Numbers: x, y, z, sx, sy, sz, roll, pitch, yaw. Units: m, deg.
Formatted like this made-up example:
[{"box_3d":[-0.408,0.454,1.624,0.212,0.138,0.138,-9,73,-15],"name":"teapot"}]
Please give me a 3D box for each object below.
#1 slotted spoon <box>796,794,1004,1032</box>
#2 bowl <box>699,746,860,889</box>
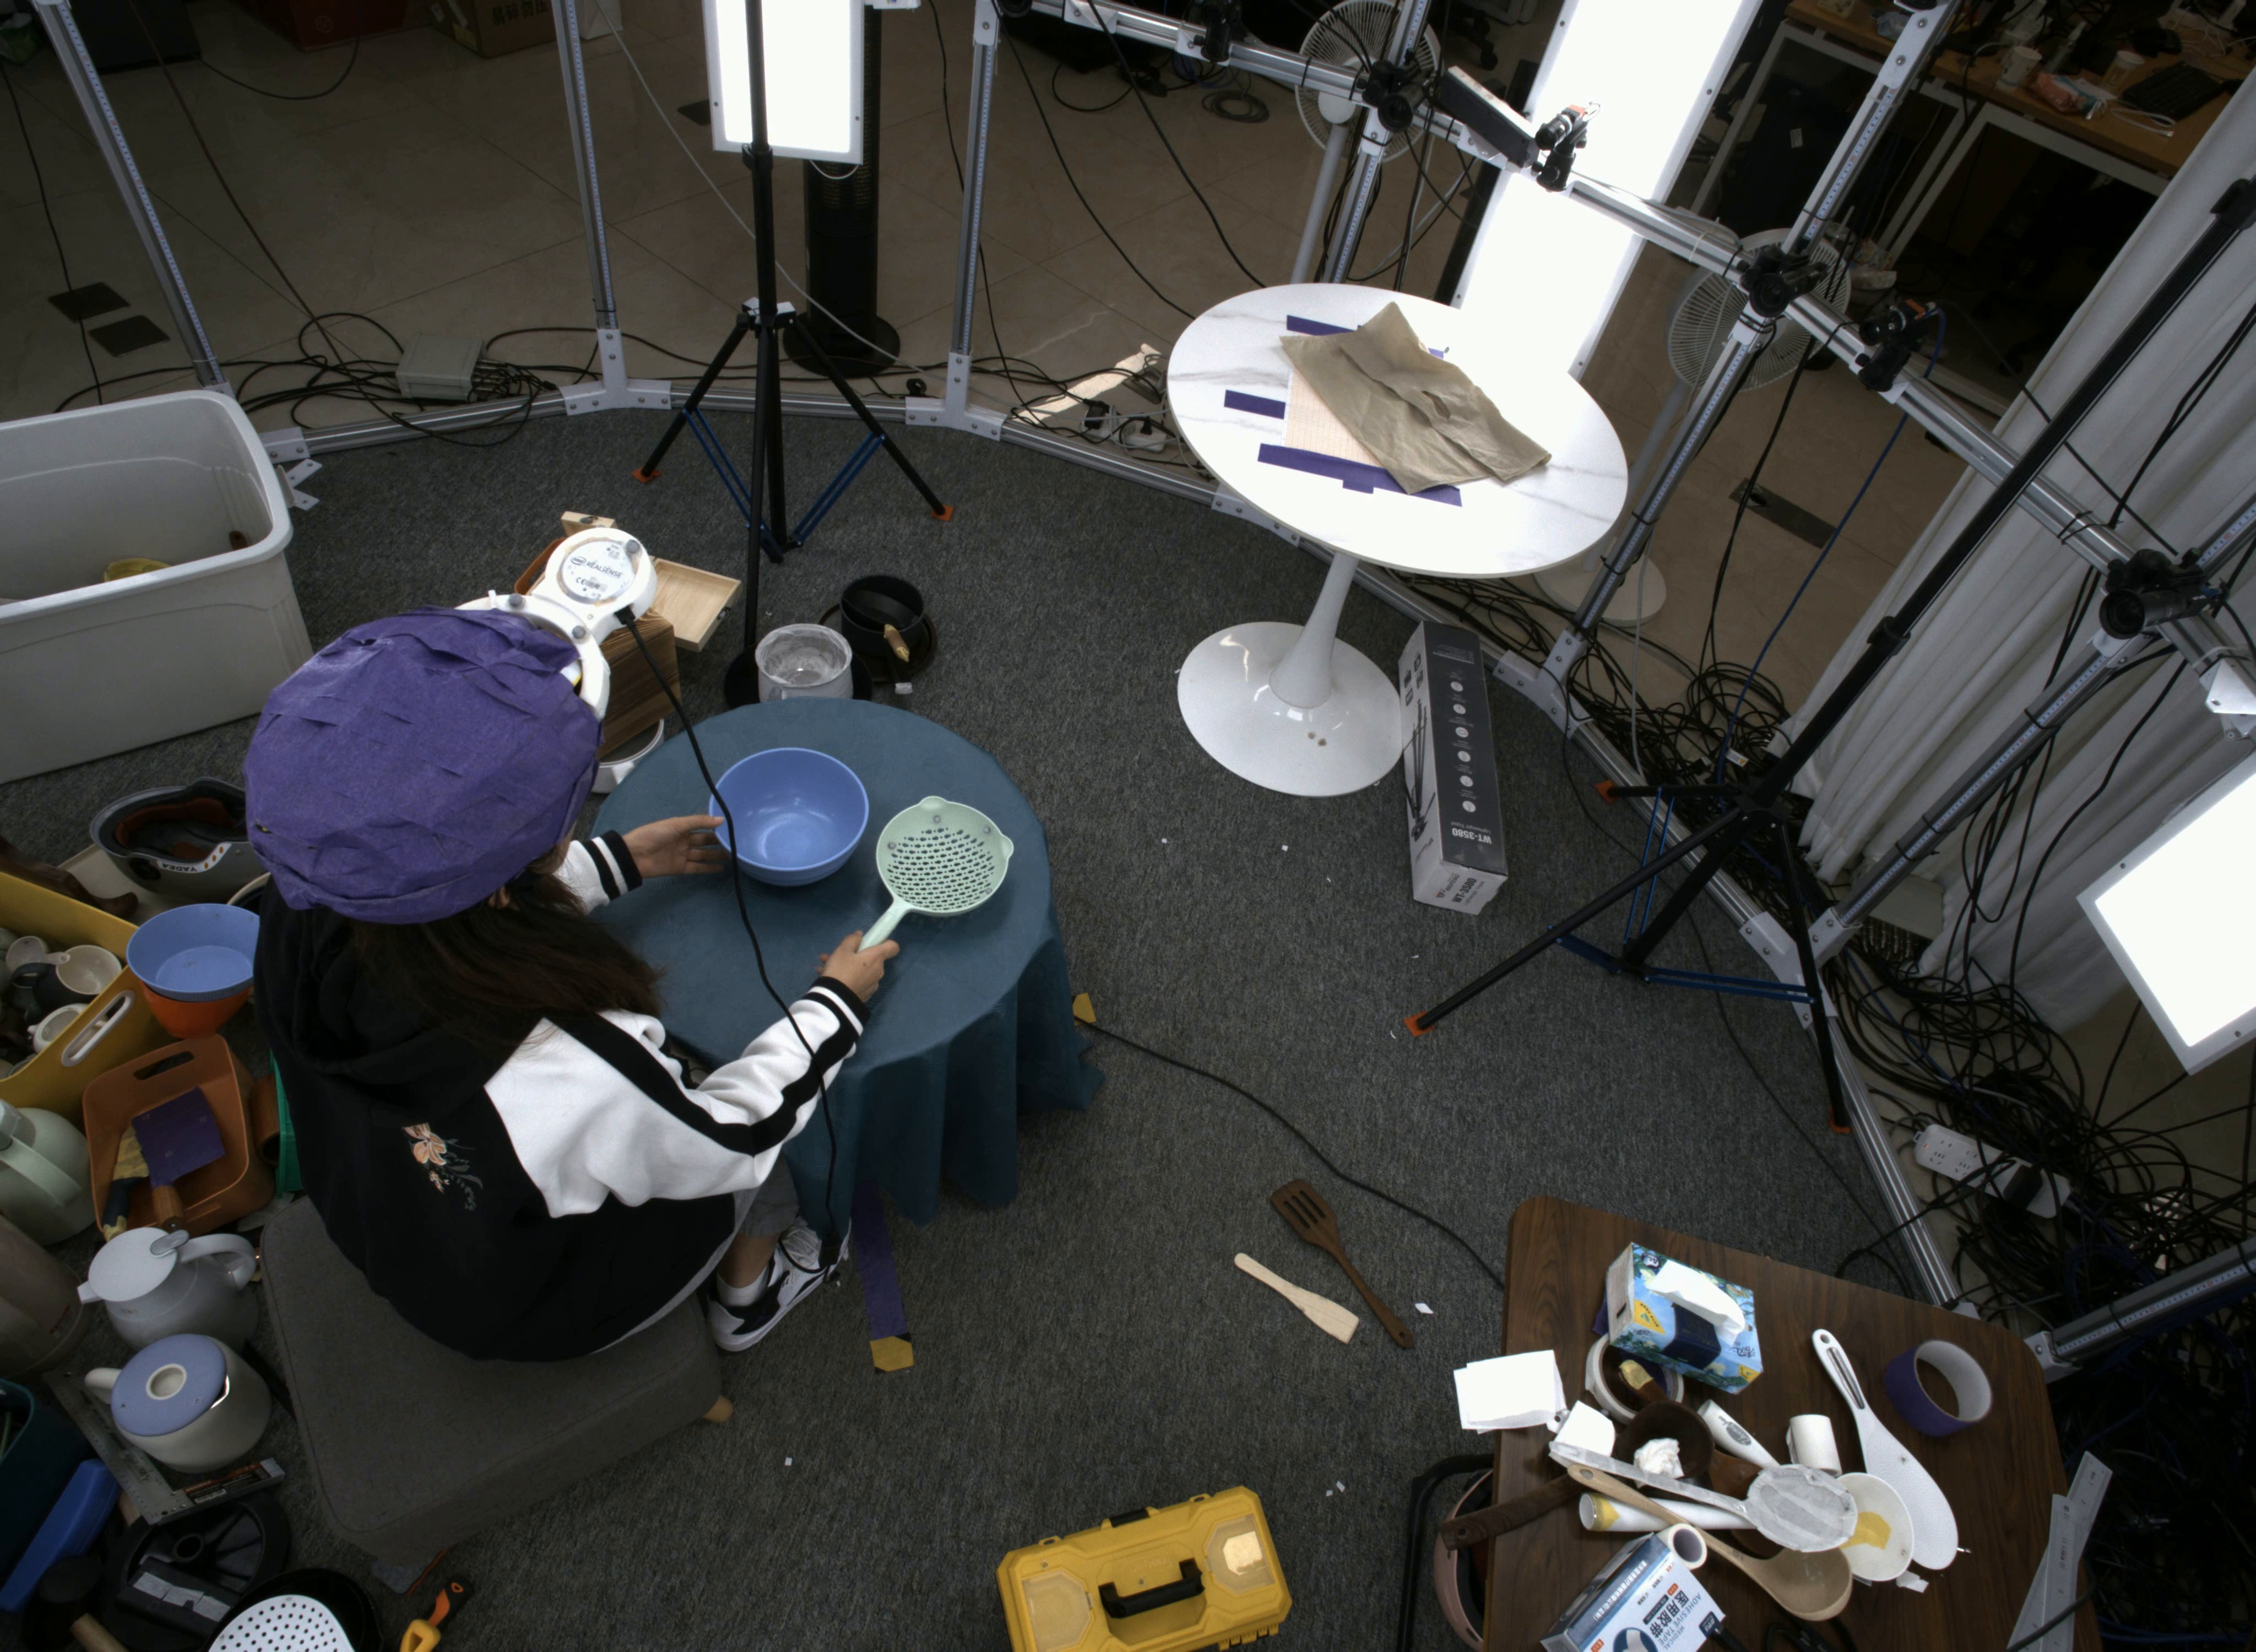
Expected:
[{"box_3d":[-0.299,0.109,1.624,0.167,0.077,0.357,31,49,8],"name":"slotted spoon"},{"box_3d":[-0.442,0.004,1.650,0.196,0.097,0.193,8,52,-9],"name":"bowl"}]
